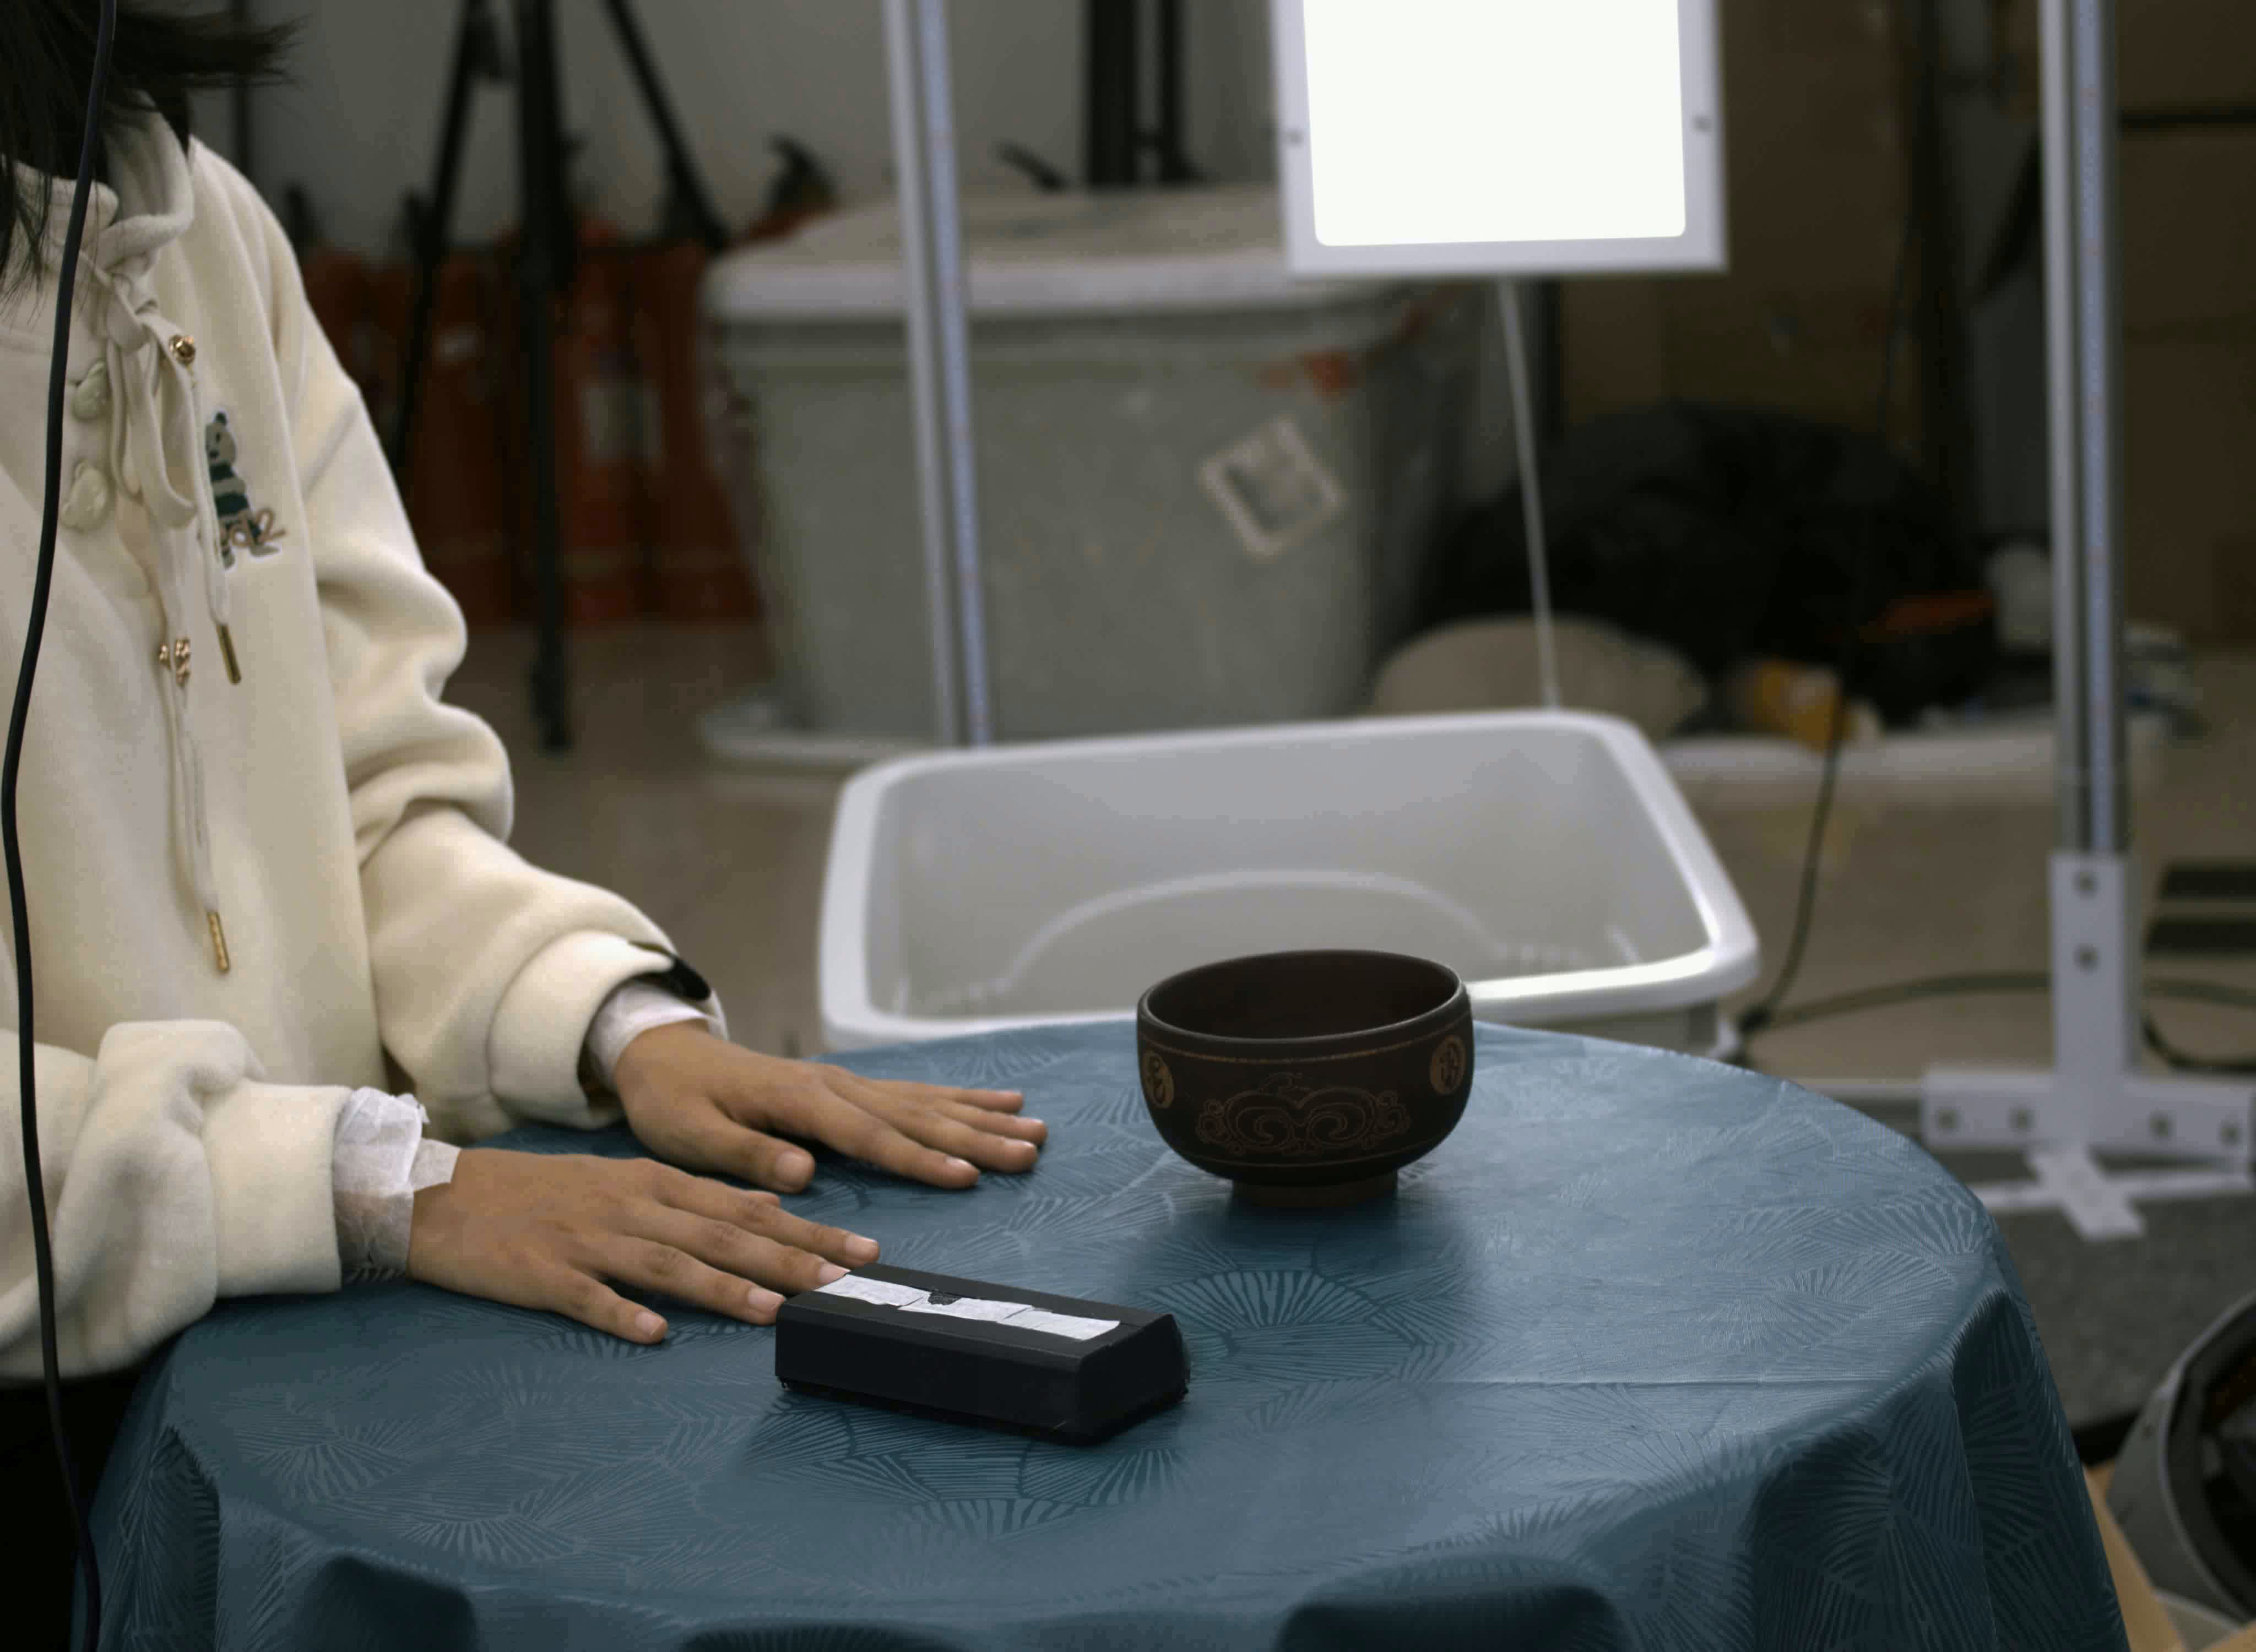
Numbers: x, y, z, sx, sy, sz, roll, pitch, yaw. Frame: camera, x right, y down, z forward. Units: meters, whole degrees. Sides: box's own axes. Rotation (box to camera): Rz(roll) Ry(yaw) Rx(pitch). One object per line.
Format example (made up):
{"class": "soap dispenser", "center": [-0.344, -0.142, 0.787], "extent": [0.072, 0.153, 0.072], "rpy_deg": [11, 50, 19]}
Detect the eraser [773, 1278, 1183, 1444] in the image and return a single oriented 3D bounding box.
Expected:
{"class": "eraser", "center": [-0.046, 0.164, 1.705], "extent": [0.128, 0.030, 0.052], "rpy_deg": [4, 15, 38]}

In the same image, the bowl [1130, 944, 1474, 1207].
{"class": "bowl", "center": [0.061, 0.089, 1.880], "extent": [0.118, 0.070, 0.118], "rpy_deg": [-6, 14, 0]}
